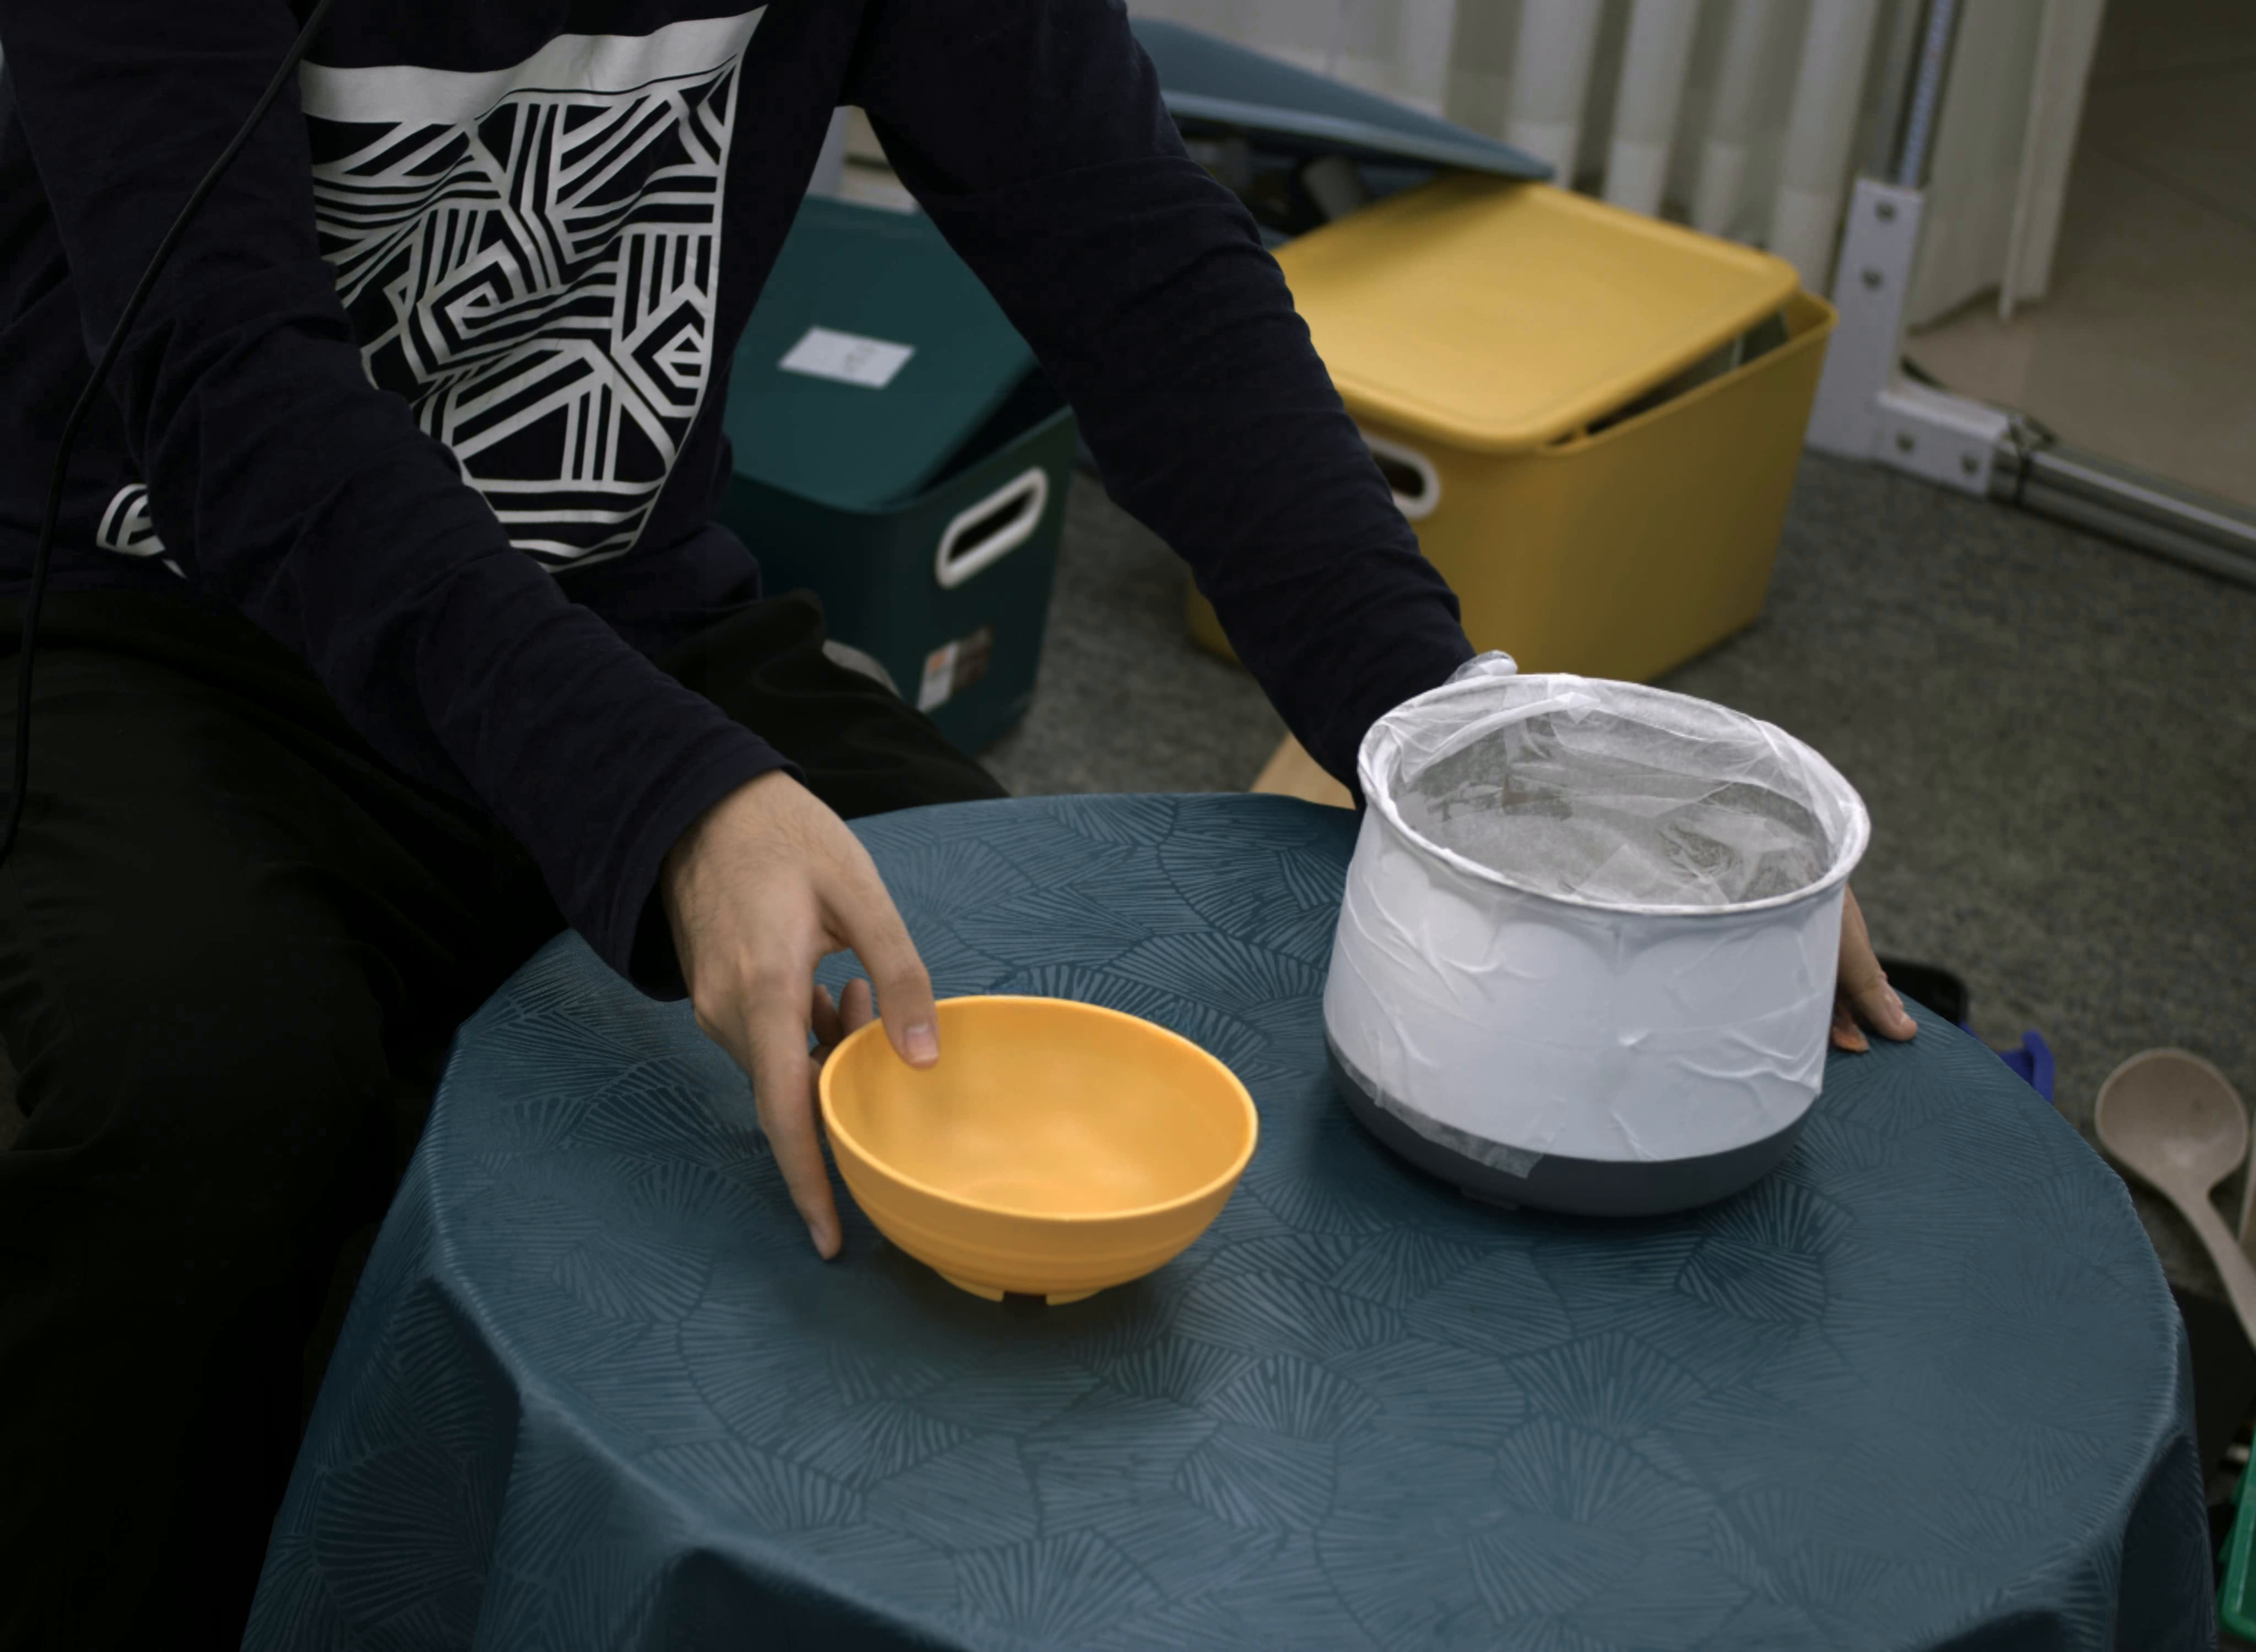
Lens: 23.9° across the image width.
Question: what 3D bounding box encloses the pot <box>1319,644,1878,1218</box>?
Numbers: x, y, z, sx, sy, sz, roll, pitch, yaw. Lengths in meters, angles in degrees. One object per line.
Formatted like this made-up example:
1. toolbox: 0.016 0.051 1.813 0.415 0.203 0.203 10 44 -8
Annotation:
1. pot: 0.149 0.030 1.871 0.177 0.136 0.236 -2 29 -24

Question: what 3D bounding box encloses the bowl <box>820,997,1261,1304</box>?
1. bowl: -0.030 0.115 1.747 0.145 0.060 0.146 4 26 -2
